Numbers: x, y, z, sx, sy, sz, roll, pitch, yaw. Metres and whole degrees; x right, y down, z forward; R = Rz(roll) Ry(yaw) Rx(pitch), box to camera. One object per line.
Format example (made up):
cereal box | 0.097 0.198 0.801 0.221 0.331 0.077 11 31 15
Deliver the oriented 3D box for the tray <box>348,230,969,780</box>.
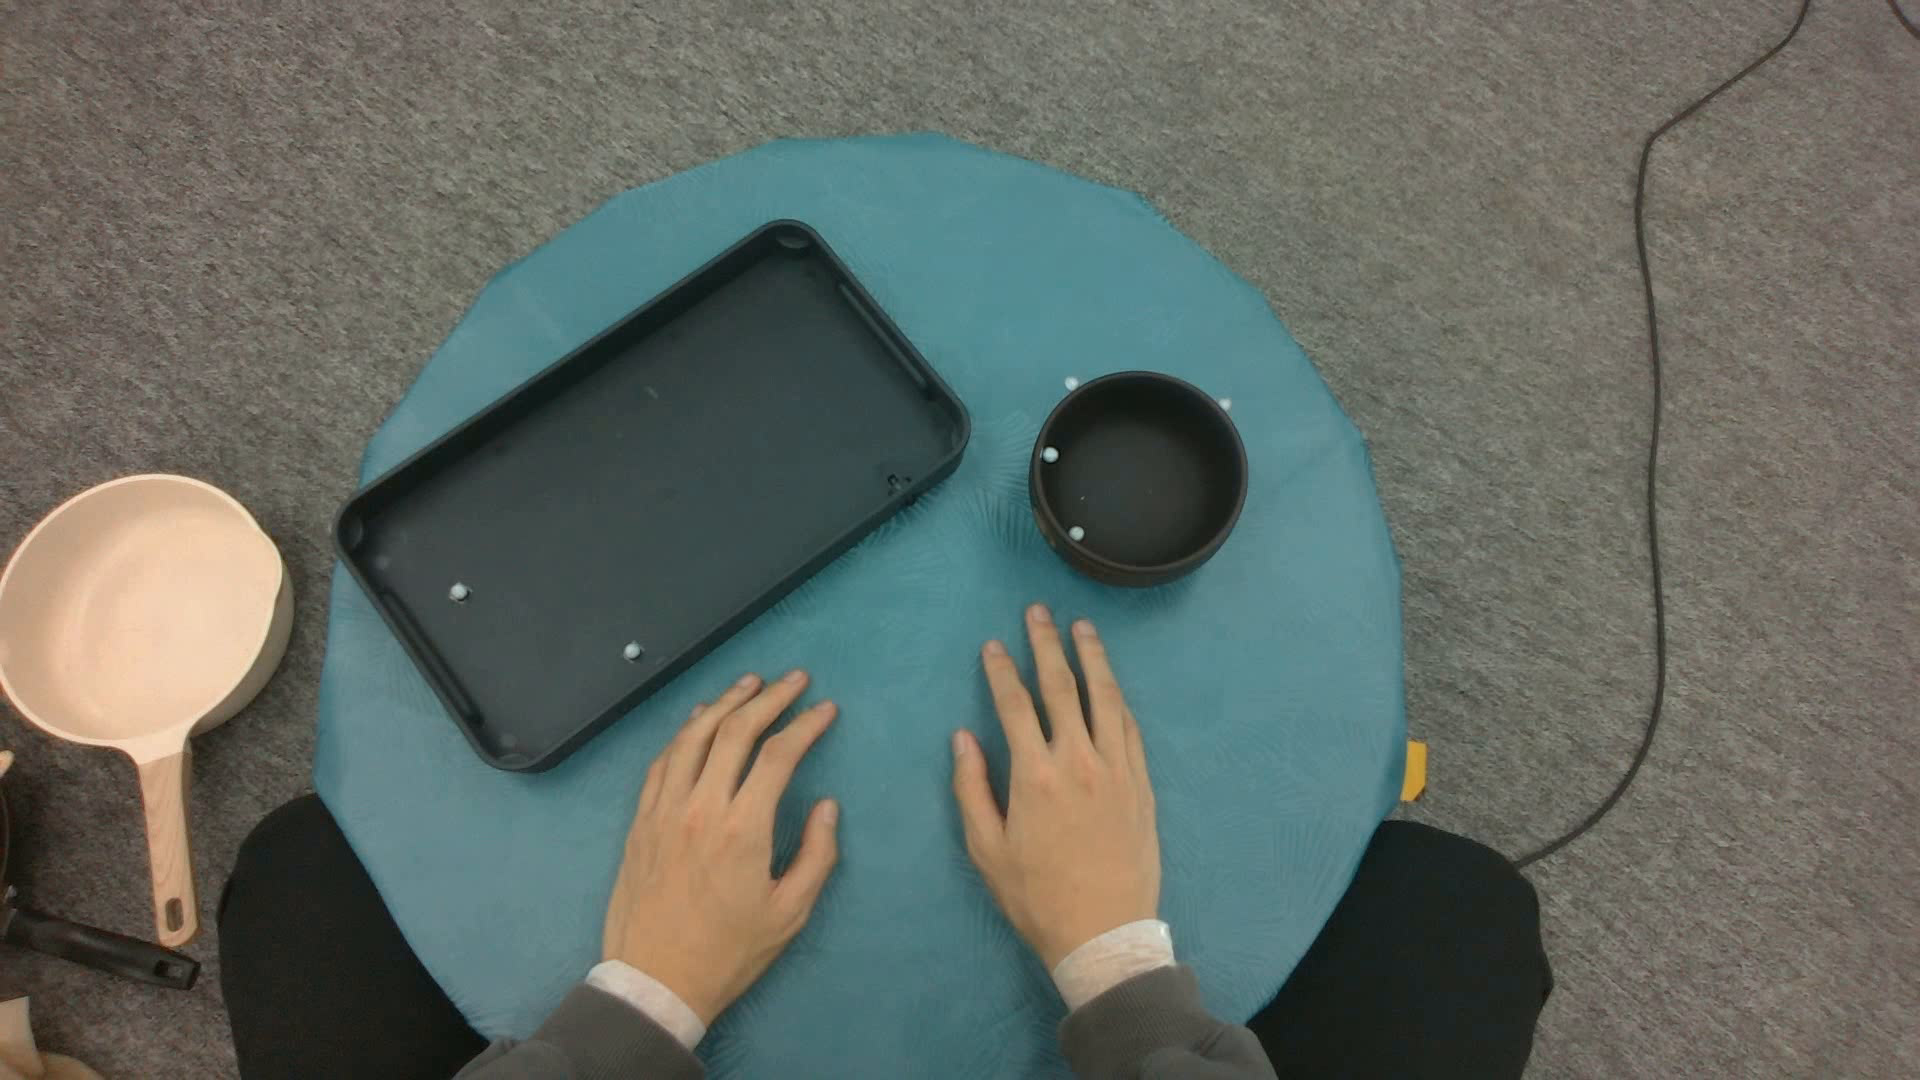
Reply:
tray | -0.165 -0.026 0.785 0.318 0.037 0.184 -39 77 -13

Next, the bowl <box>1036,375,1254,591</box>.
bowl | 0.100 -0.027 0.771 0.118 0.069 0.118 0 74 -1
